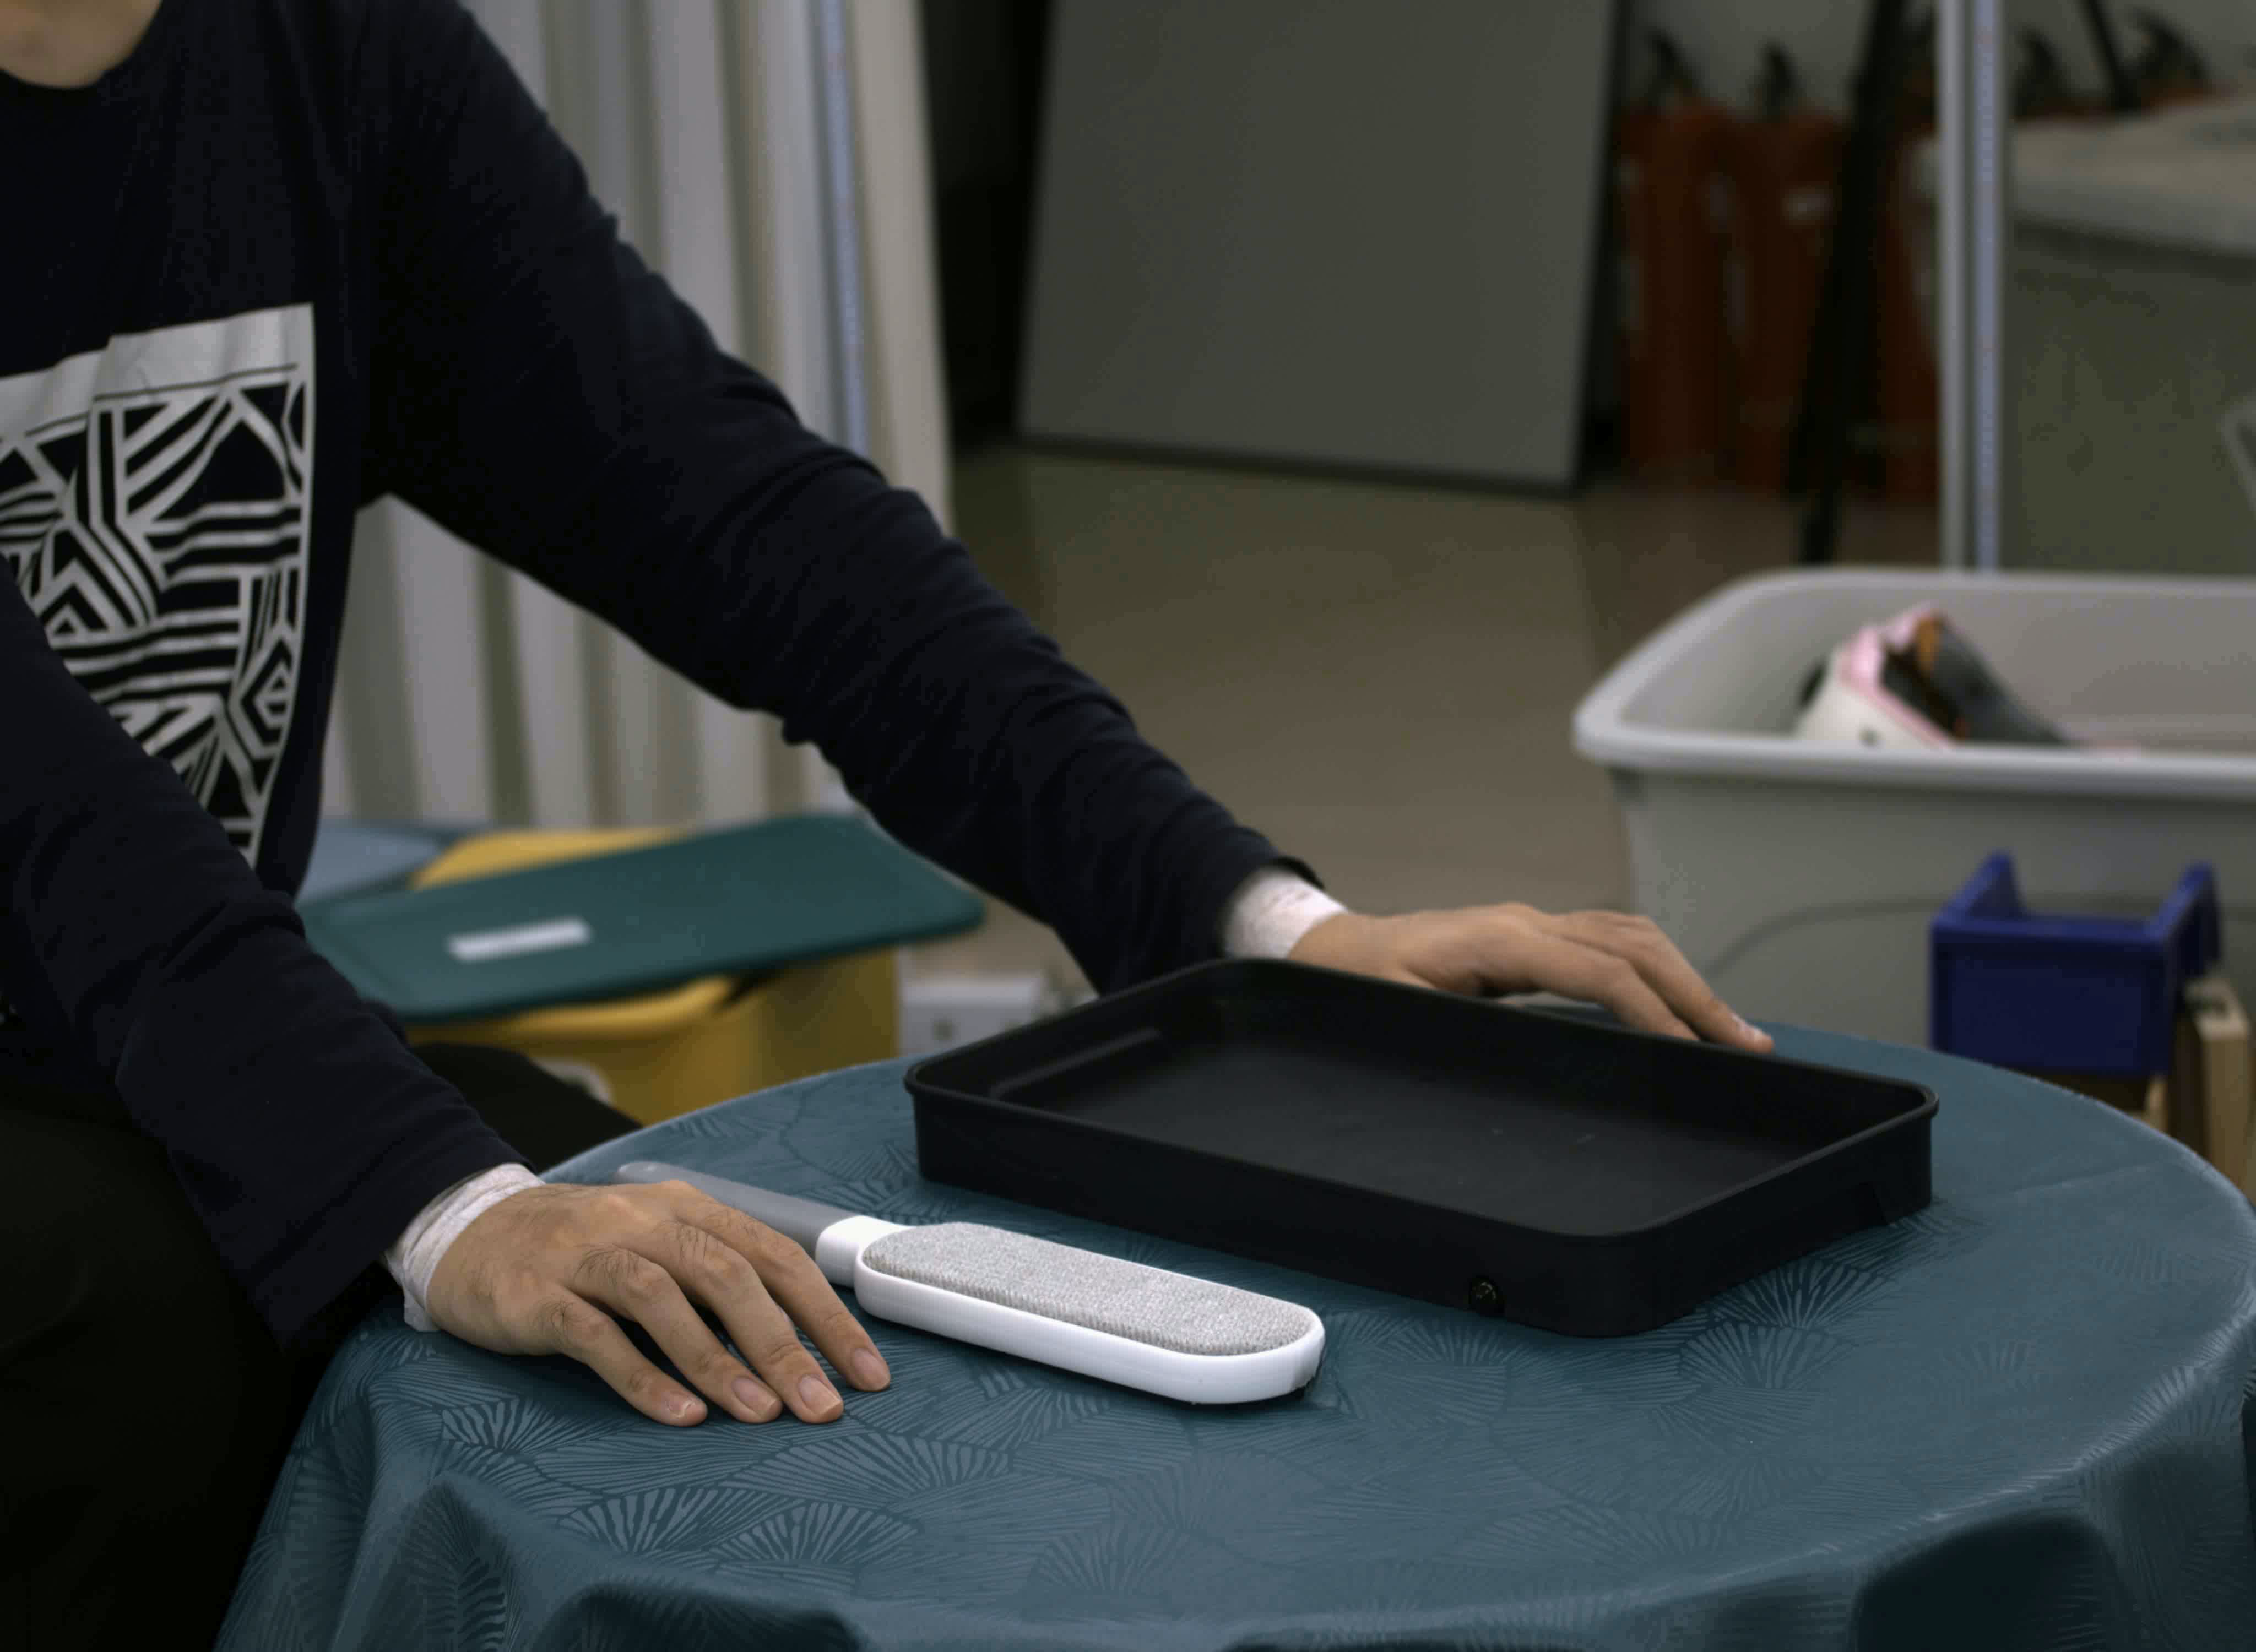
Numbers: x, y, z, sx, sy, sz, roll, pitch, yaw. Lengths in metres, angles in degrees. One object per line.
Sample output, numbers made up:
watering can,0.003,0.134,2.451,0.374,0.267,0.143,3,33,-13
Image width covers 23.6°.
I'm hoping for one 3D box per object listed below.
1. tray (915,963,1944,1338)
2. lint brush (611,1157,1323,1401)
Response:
tray,0.094,0.101,1.757,0.180,0.037,0.321,-16,18,-42
lint brush,-0.057,0.136,1.672,0.059,0.021,0.312,-23,22,-40
